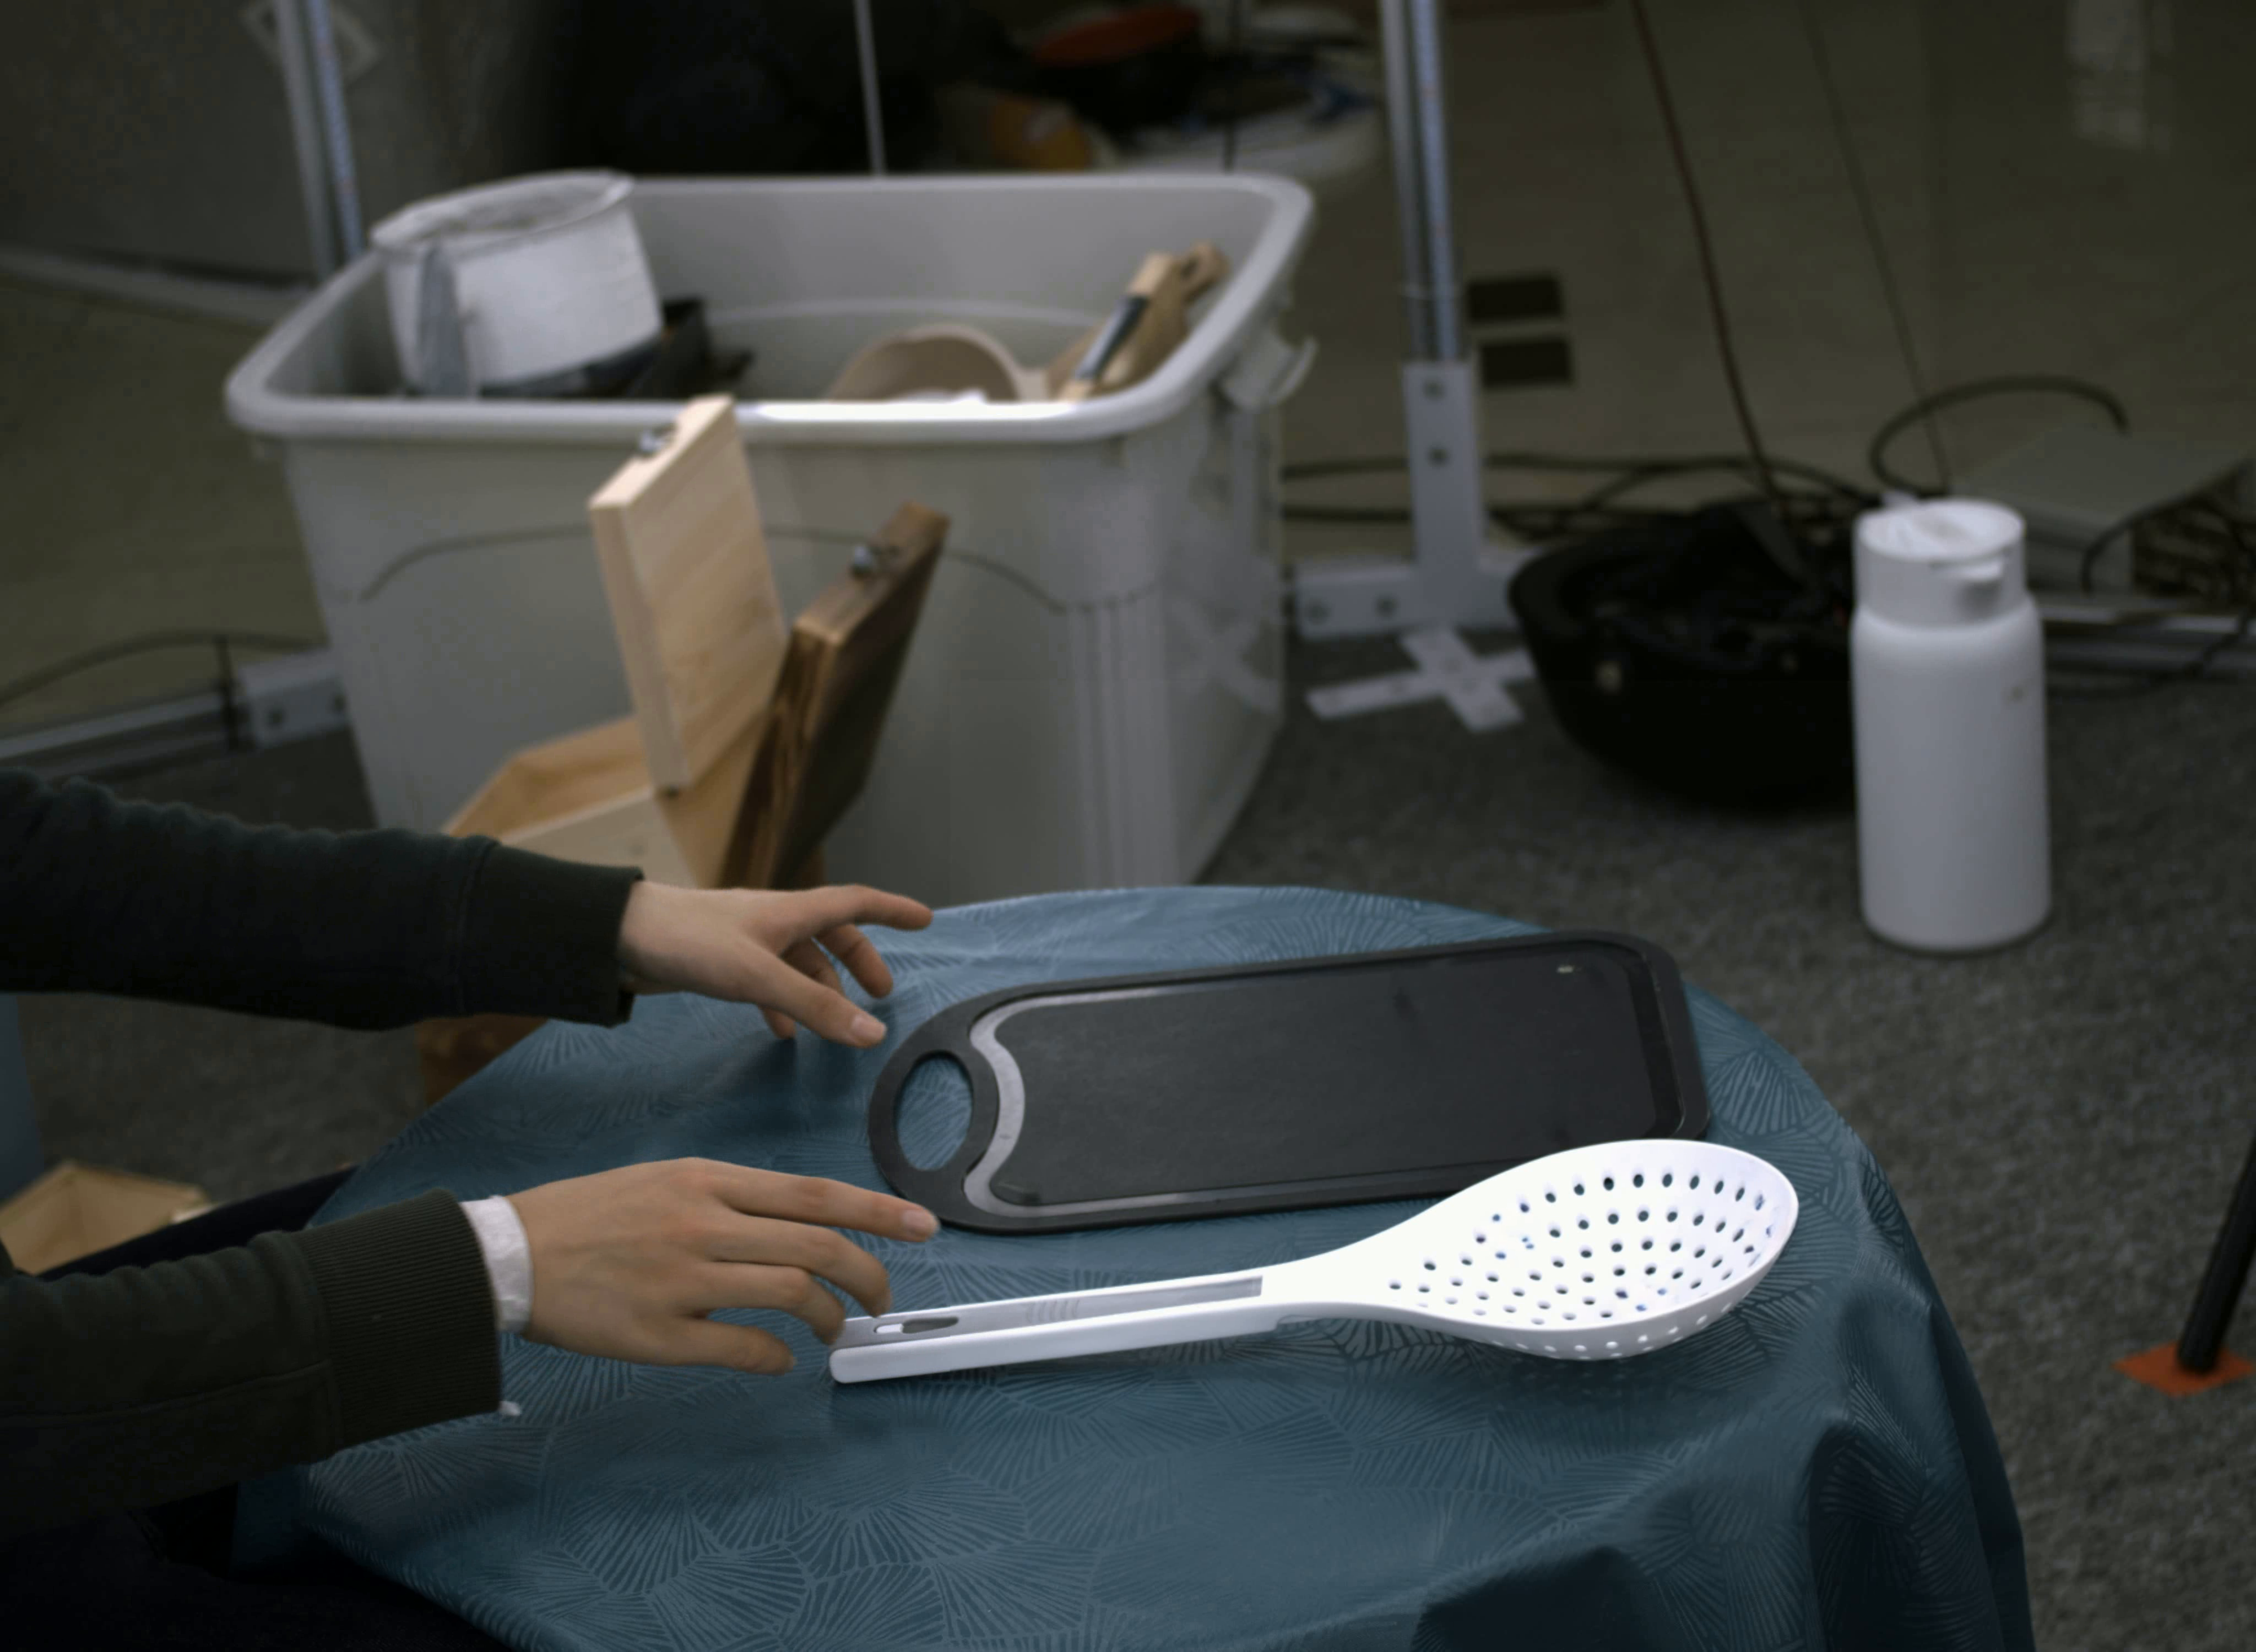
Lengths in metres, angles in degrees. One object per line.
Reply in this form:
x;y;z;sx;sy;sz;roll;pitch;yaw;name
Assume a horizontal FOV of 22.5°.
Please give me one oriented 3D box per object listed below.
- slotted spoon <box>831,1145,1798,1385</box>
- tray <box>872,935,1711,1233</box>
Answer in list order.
0.065;0.166;2.024;0.349;0.046;0.134;-4;23;7;slotted spoon
0.061;0.098;2.217;0.325;0.010;0.208;-6;25;3;tray
